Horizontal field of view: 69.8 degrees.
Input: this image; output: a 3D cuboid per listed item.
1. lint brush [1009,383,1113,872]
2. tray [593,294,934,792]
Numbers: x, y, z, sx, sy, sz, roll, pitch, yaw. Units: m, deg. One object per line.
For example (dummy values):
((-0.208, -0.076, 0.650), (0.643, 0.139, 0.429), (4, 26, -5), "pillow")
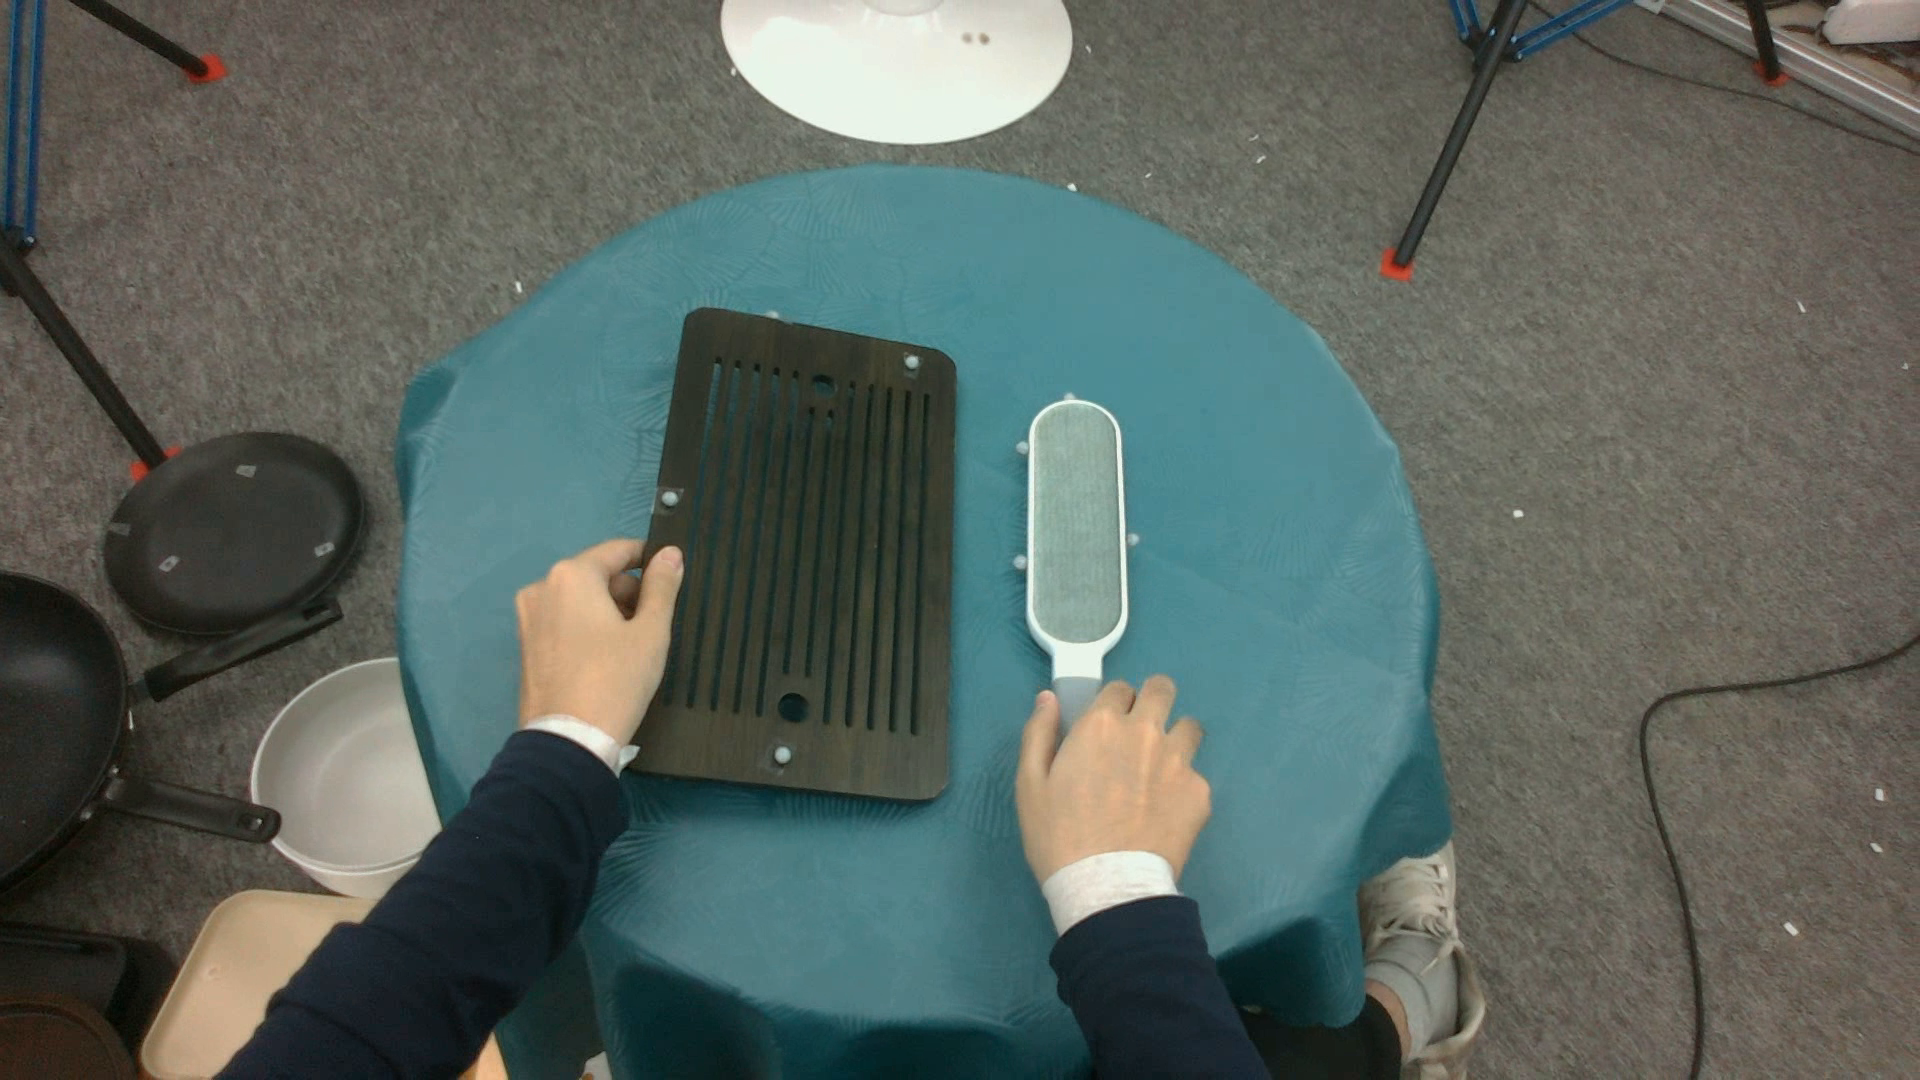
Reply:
((0.055, 0.035, 0.768), (0.060, 0.021, 0.310), (9, 56, -8), "lint brush")
((-0.099, -0.008, 0.769), (0.170, 0.018, 0.307), (8, 56, -12), "tray")
